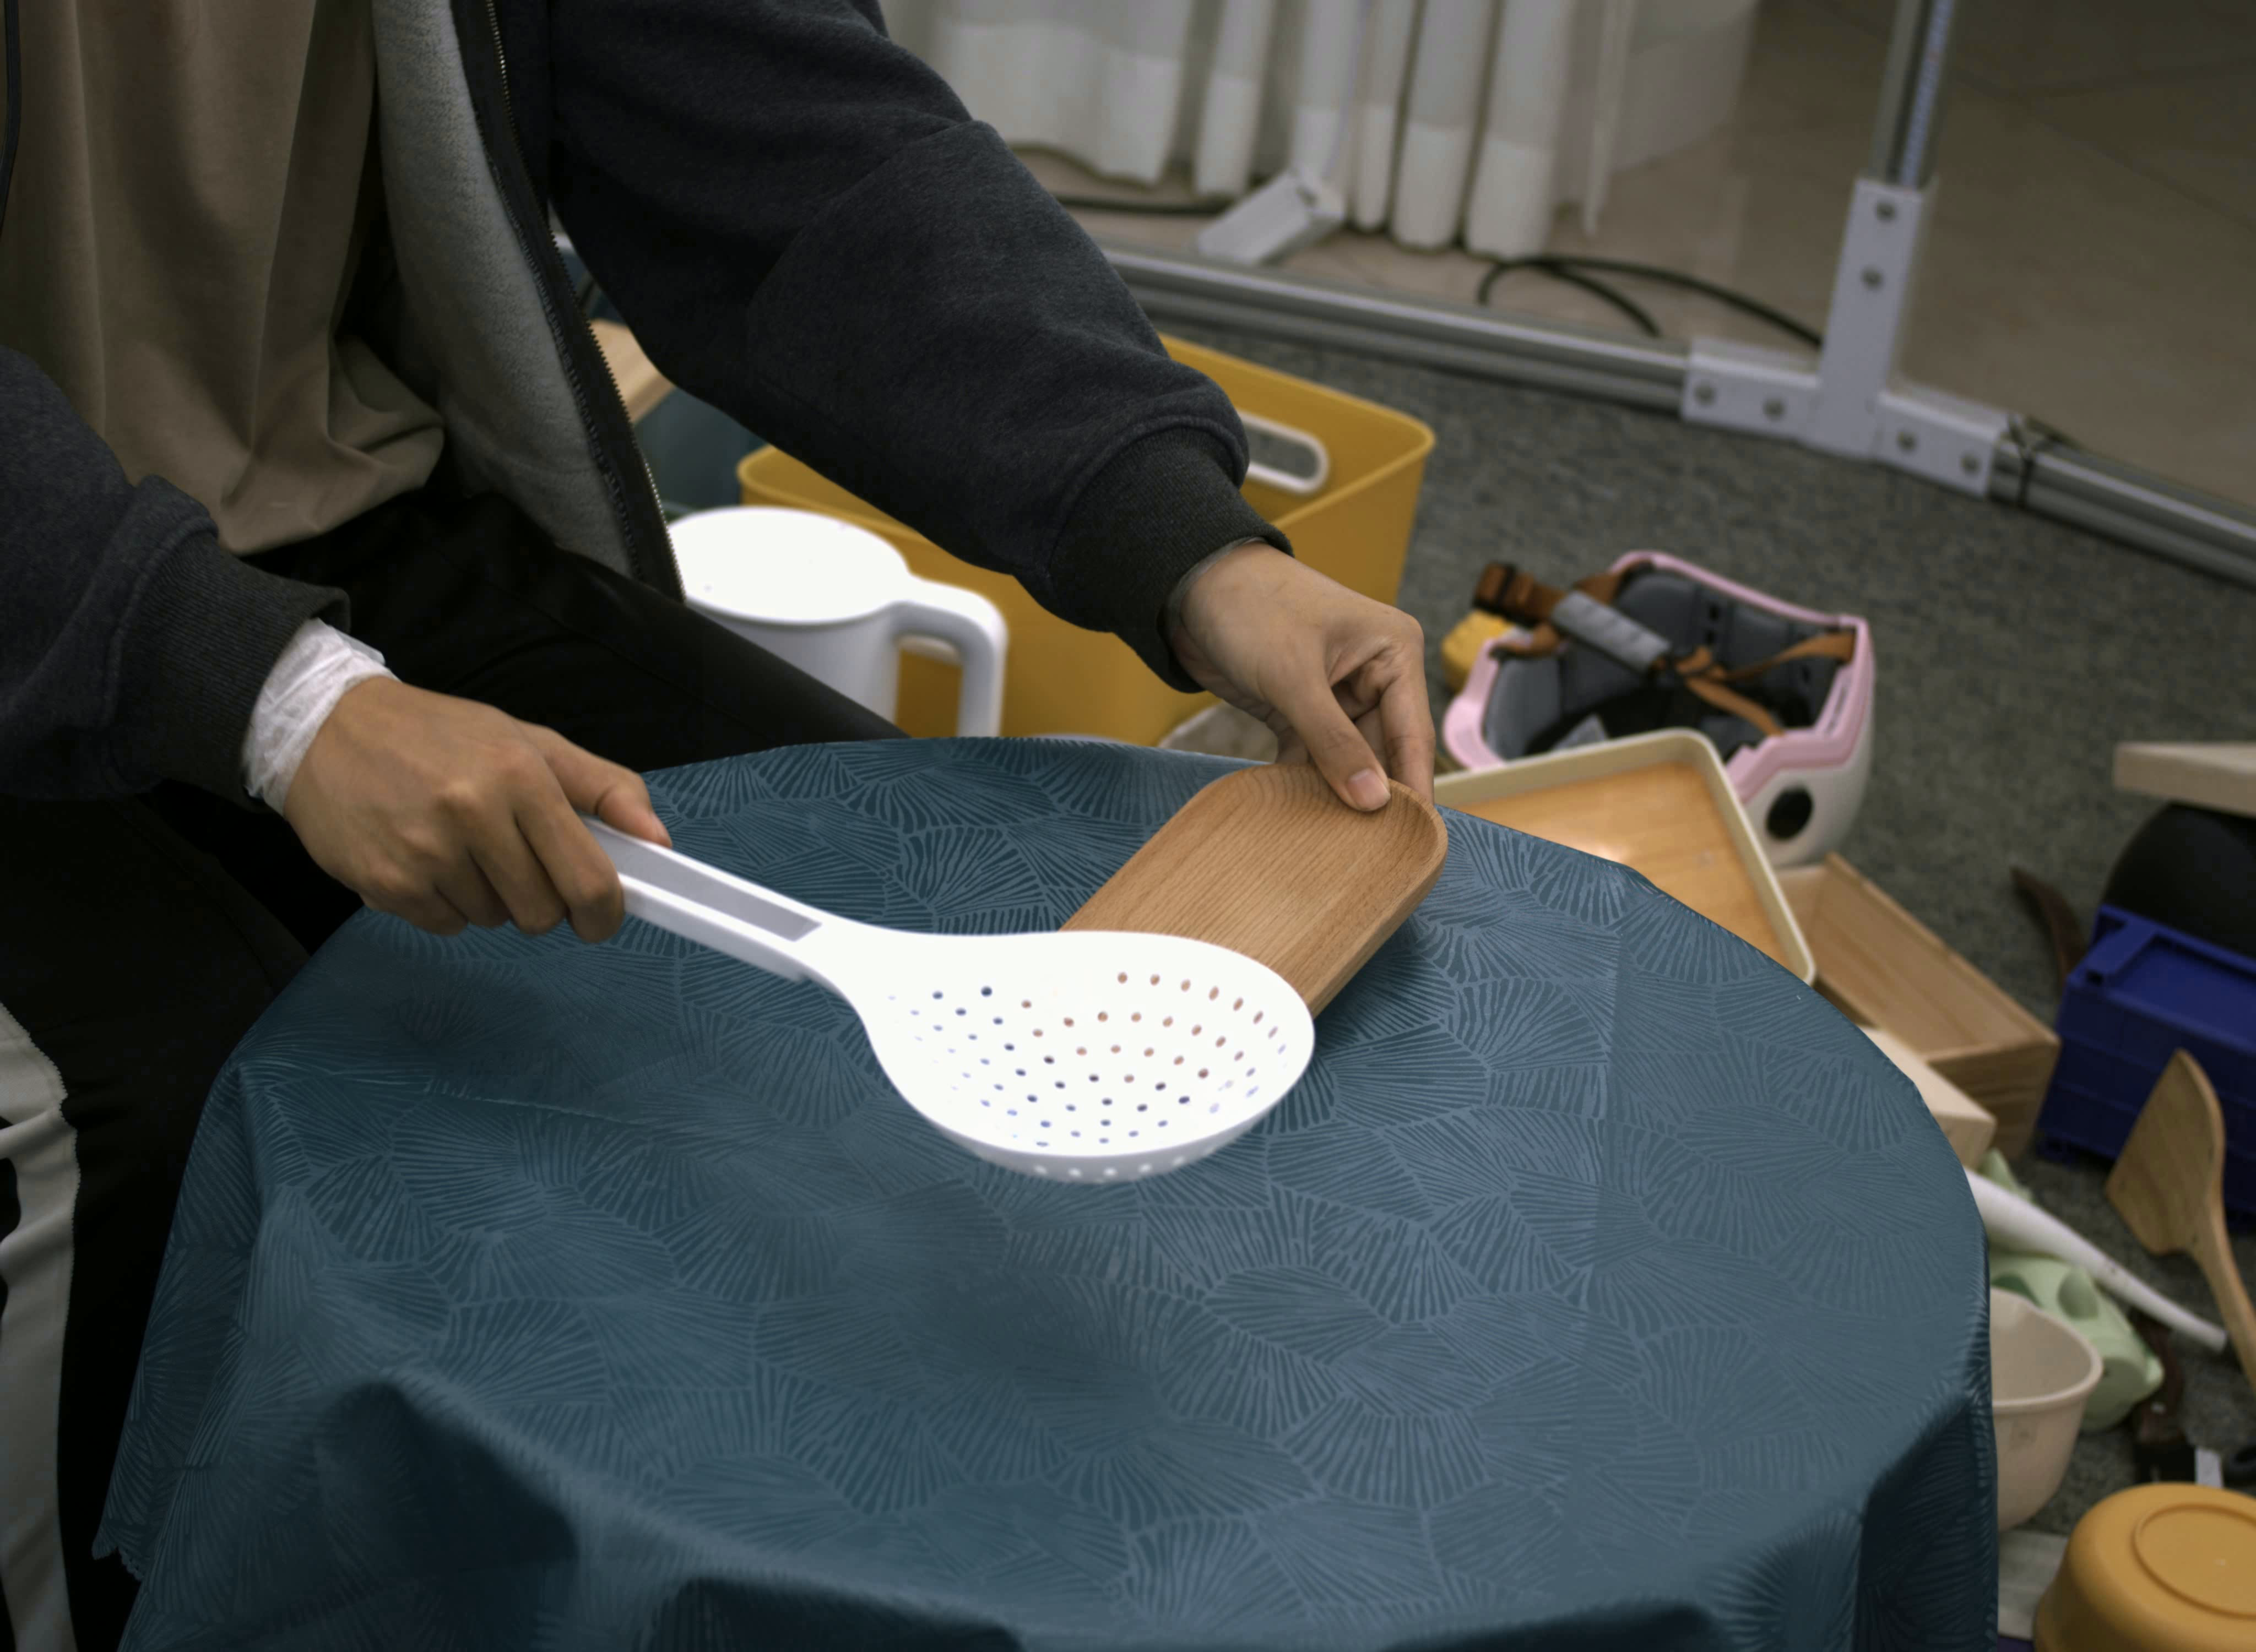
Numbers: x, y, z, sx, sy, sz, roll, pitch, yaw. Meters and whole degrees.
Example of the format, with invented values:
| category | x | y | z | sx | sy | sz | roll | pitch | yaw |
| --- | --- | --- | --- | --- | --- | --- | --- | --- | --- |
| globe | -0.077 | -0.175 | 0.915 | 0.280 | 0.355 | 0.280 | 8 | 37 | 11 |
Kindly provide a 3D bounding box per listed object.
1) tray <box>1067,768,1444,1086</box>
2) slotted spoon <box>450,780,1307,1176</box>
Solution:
| category | x | y | z | sx | sy | sz | roll | pitch | yaw |
| --- | --- | --- | --- | --- | --- | --- | --- | --- | --- |
| tray | 0.038 | 0.041 | 1.929 | 0.102 | 0.020 | 0.231 | 15 | 35 | 22 |
| slotted spoon | -0.094 | 0.042 | 1.754 | 0.352 | 0.045 | 0.135 | 24 | 38 | 33 |
